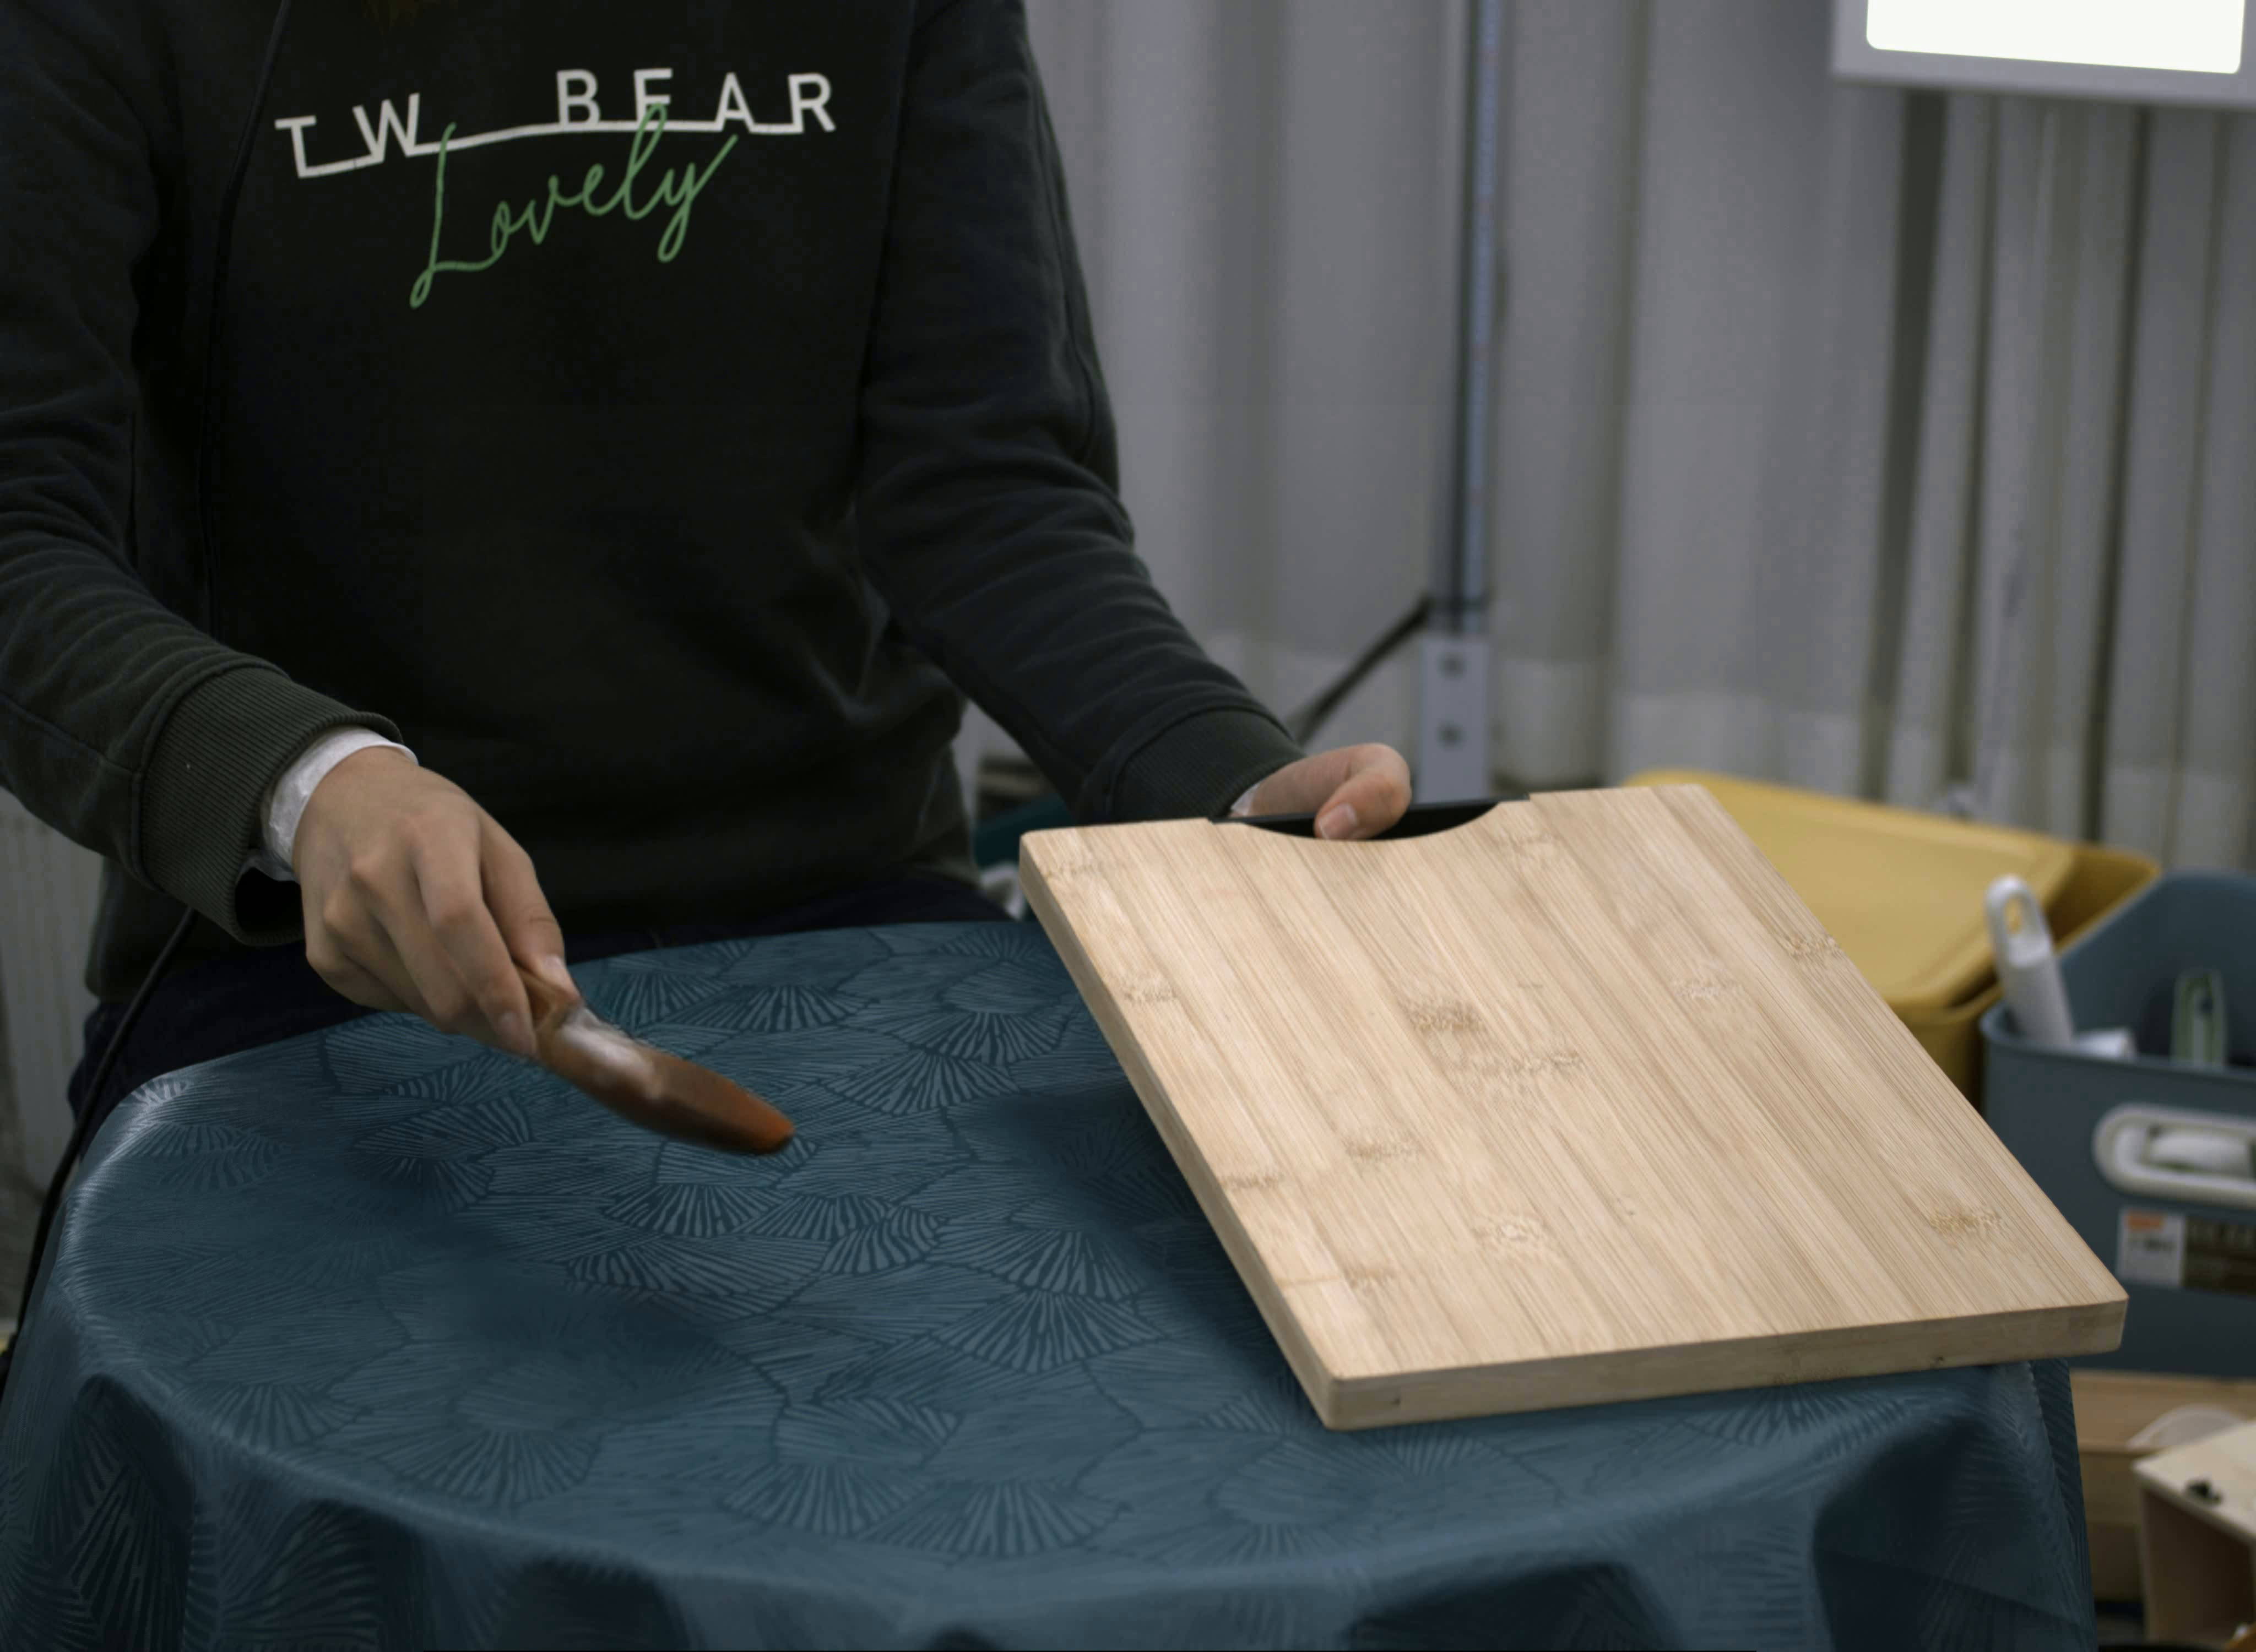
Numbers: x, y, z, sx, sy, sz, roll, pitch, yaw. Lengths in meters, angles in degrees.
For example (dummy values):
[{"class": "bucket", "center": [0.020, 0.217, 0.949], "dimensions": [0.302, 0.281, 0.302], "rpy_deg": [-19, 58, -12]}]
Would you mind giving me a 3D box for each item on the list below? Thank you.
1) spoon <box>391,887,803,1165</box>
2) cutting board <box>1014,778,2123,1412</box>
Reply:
[{"class": "spoon", "center": [-0.165, 0.060, 1.552], "dimensions": [0.076, 0.017, 0.213], "rpy_deg": [15, 10, -37]}, {"class": "cutting board", "center": [0.123, 0.074, 1.617], "dimensions": [0.251, 0.024, 0.344], "rpy_deg": [-4, 28, -17]}]
